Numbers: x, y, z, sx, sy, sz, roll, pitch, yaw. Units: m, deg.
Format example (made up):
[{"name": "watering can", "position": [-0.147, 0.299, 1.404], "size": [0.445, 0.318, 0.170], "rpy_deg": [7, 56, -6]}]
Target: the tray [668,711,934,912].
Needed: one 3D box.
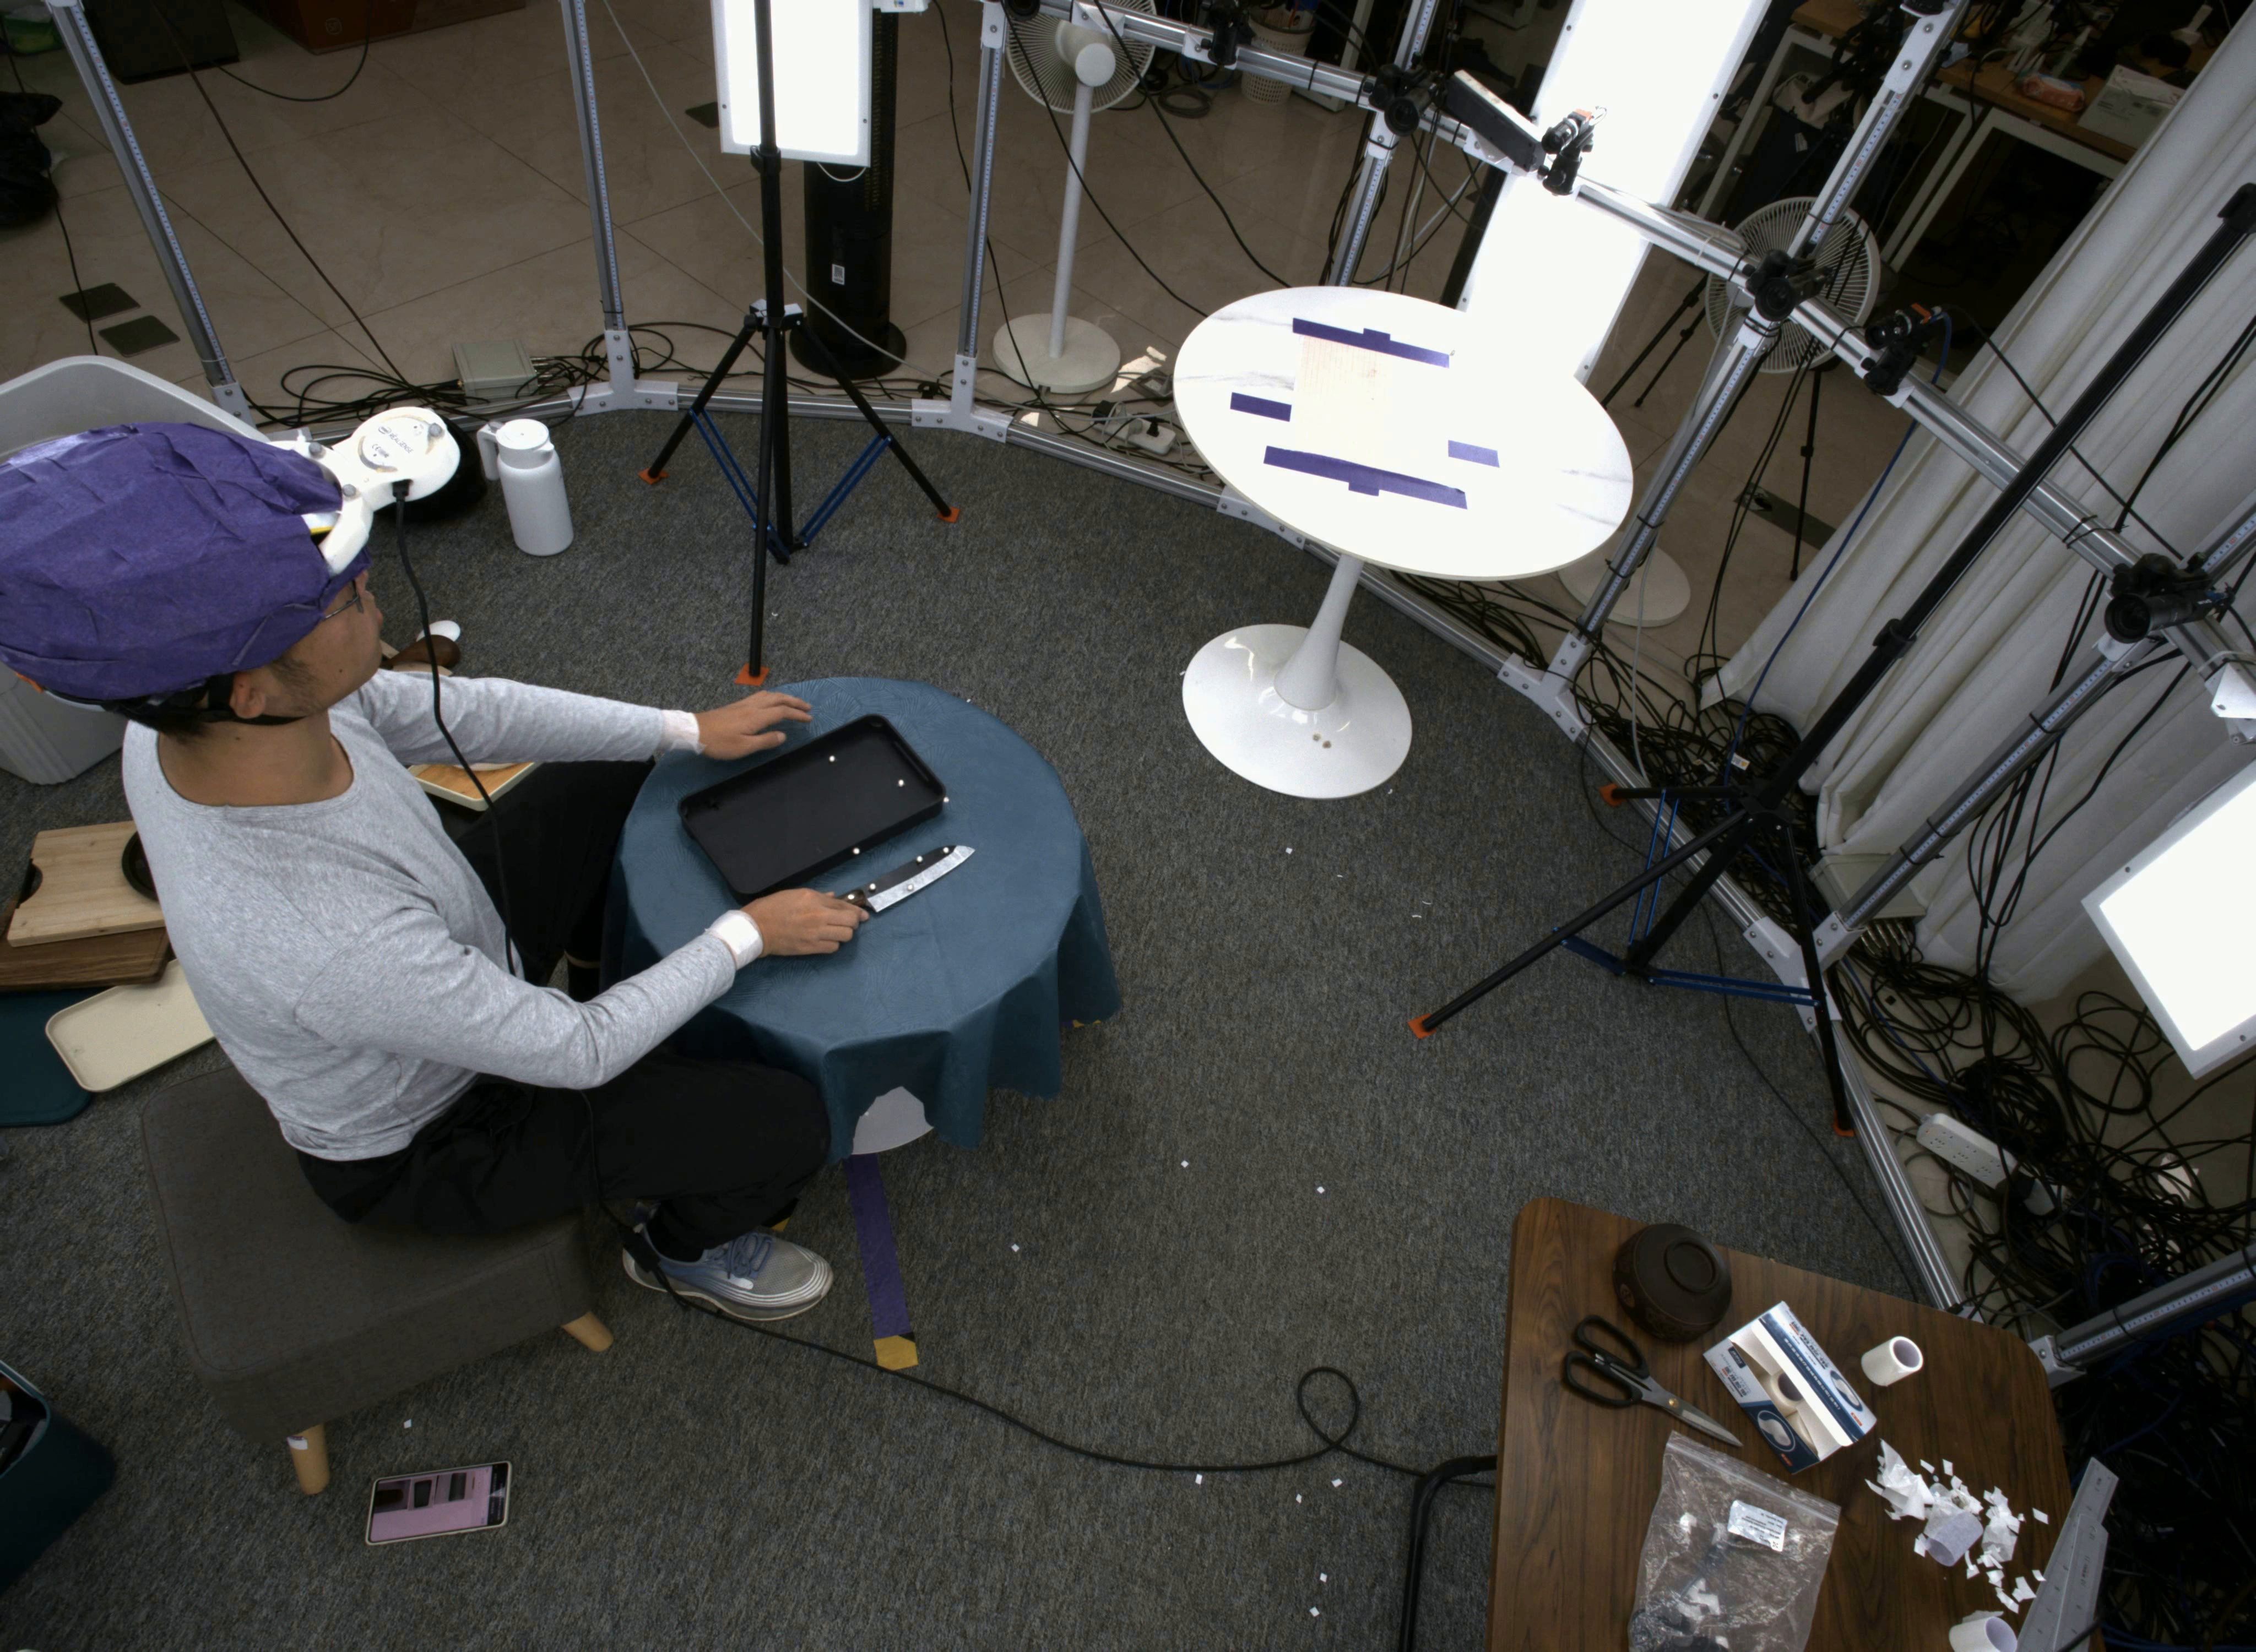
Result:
[{"name": "tray", "position": [-0.432, -0.026, 1.730], "size": [0.319, 0.038, 0.180], "rpy_deg": [-33, 67, -31]}]

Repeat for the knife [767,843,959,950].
[{"name": "knife", "position": [-0.337, 0.085, 1.684], "size": [0.290, 0.020, 0.049], "rpy_deg": [-29, 66, -33]}]
